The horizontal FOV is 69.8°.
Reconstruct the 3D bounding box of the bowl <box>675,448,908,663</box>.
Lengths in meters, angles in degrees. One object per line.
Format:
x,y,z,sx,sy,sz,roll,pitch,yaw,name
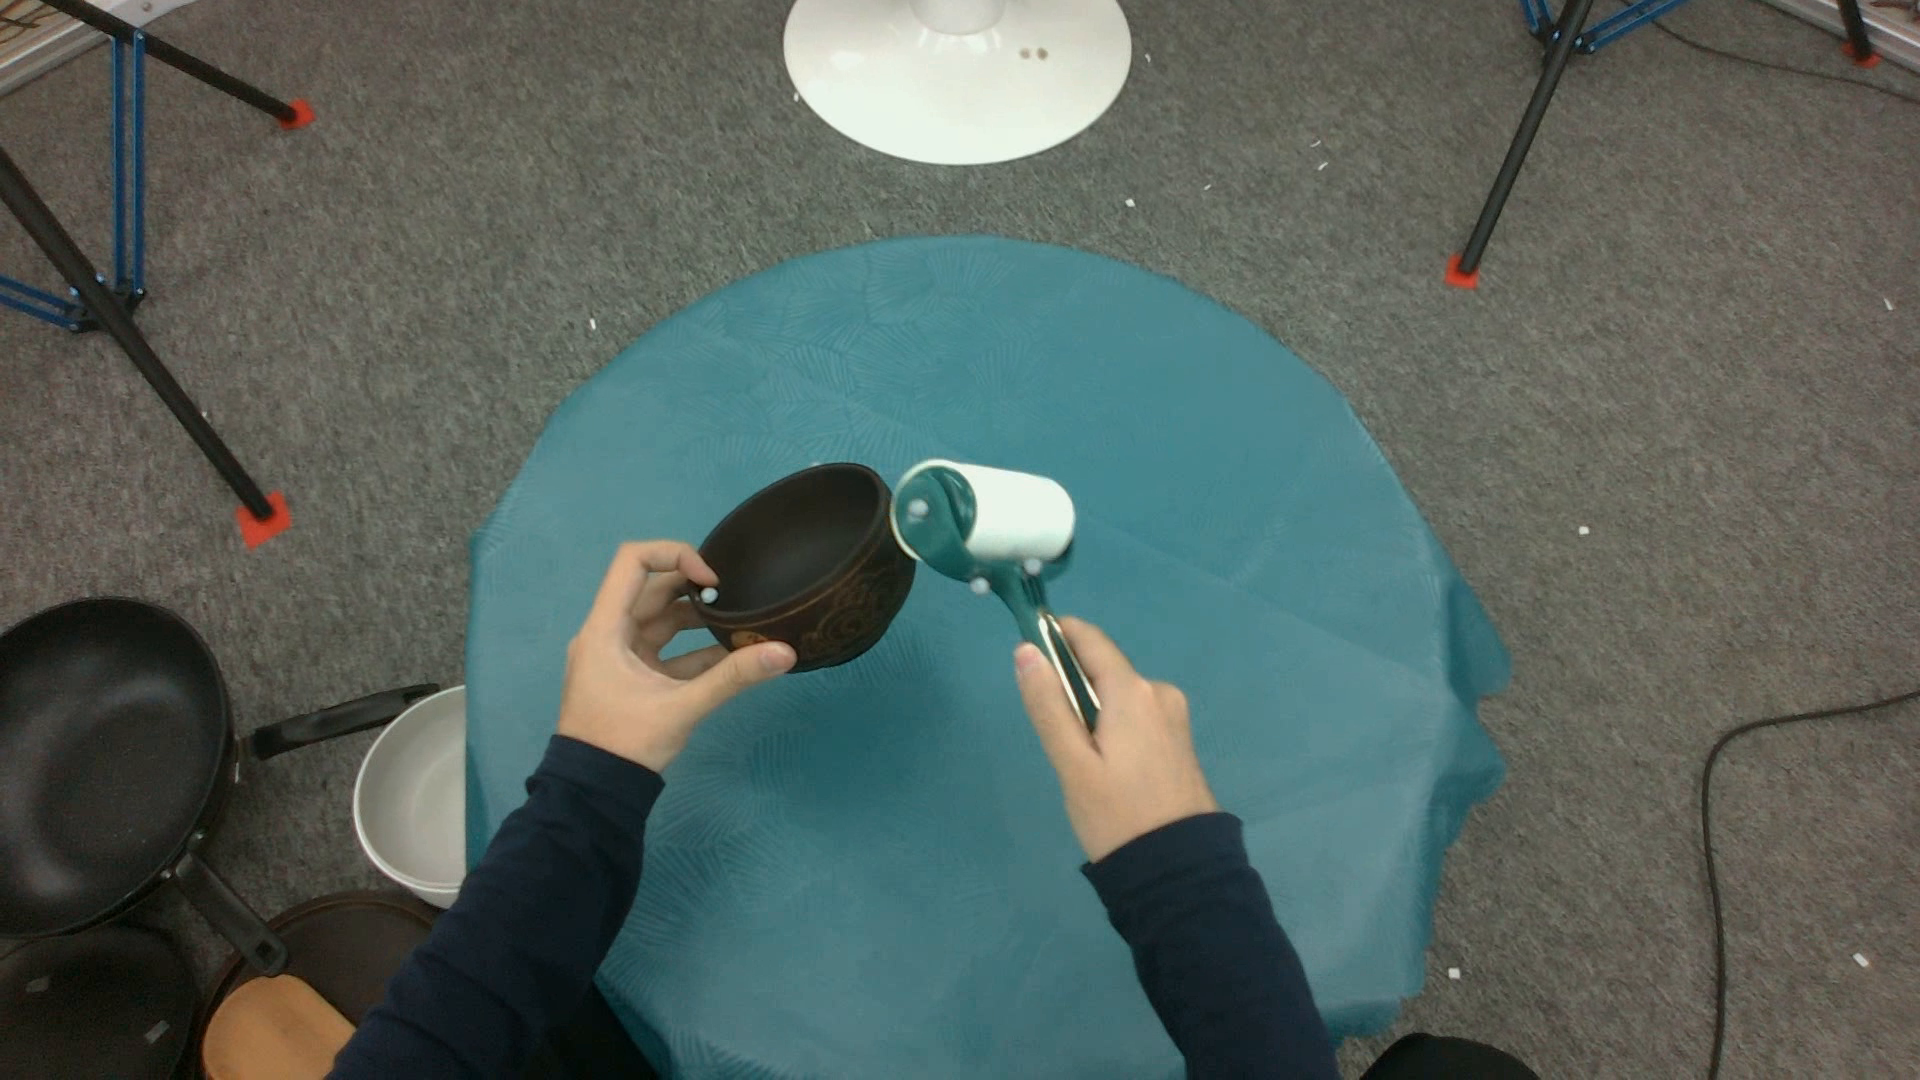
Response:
-0.080,0.015,0.711,0.118,0.069,0.118,-17,38,14,bowl

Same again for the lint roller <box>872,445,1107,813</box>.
0.035,0.037,0.638,0.048,0.134,0.180,-37,73,21,lint roller
